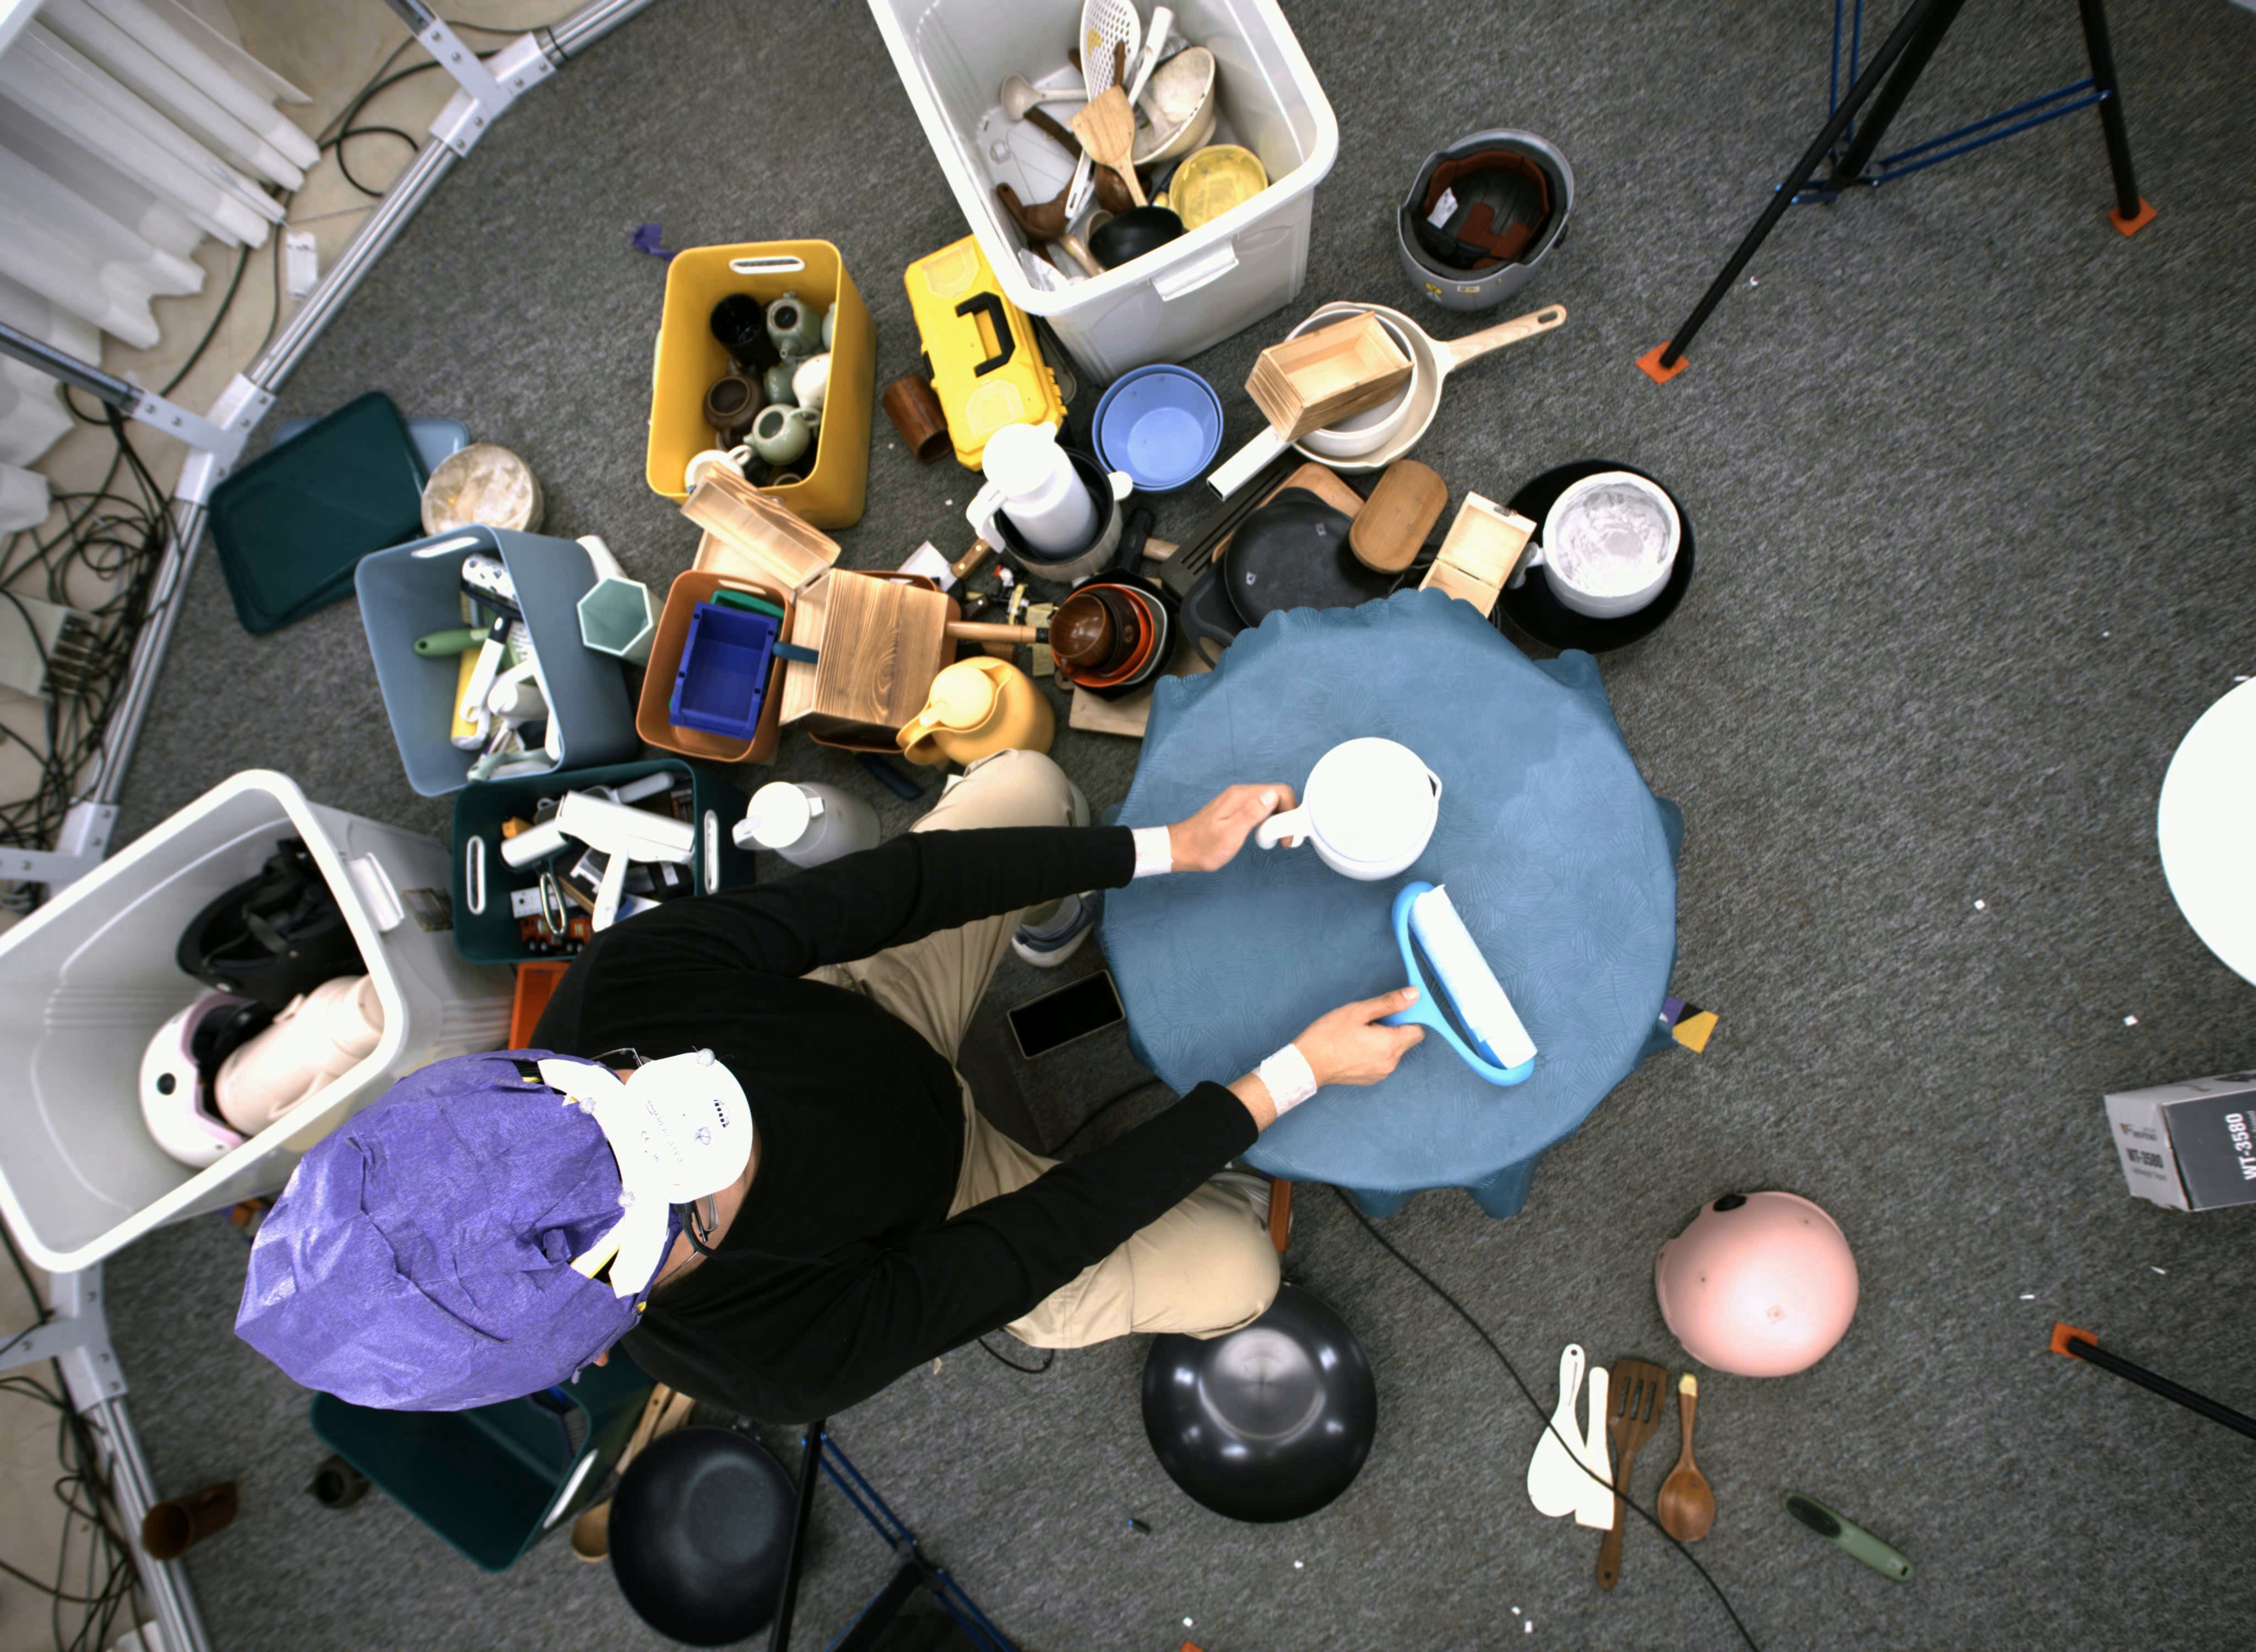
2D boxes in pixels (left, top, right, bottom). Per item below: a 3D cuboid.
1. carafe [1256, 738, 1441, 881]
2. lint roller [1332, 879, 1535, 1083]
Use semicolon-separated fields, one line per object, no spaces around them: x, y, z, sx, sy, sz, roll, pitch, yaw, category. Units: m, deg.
0.219;-0.010;1.387;0.192;0.182;0.131;-16;82;11;carafe
0.295;0.185;1.410;0.179;0.068;0.228;-30;85;-6;lint roller
